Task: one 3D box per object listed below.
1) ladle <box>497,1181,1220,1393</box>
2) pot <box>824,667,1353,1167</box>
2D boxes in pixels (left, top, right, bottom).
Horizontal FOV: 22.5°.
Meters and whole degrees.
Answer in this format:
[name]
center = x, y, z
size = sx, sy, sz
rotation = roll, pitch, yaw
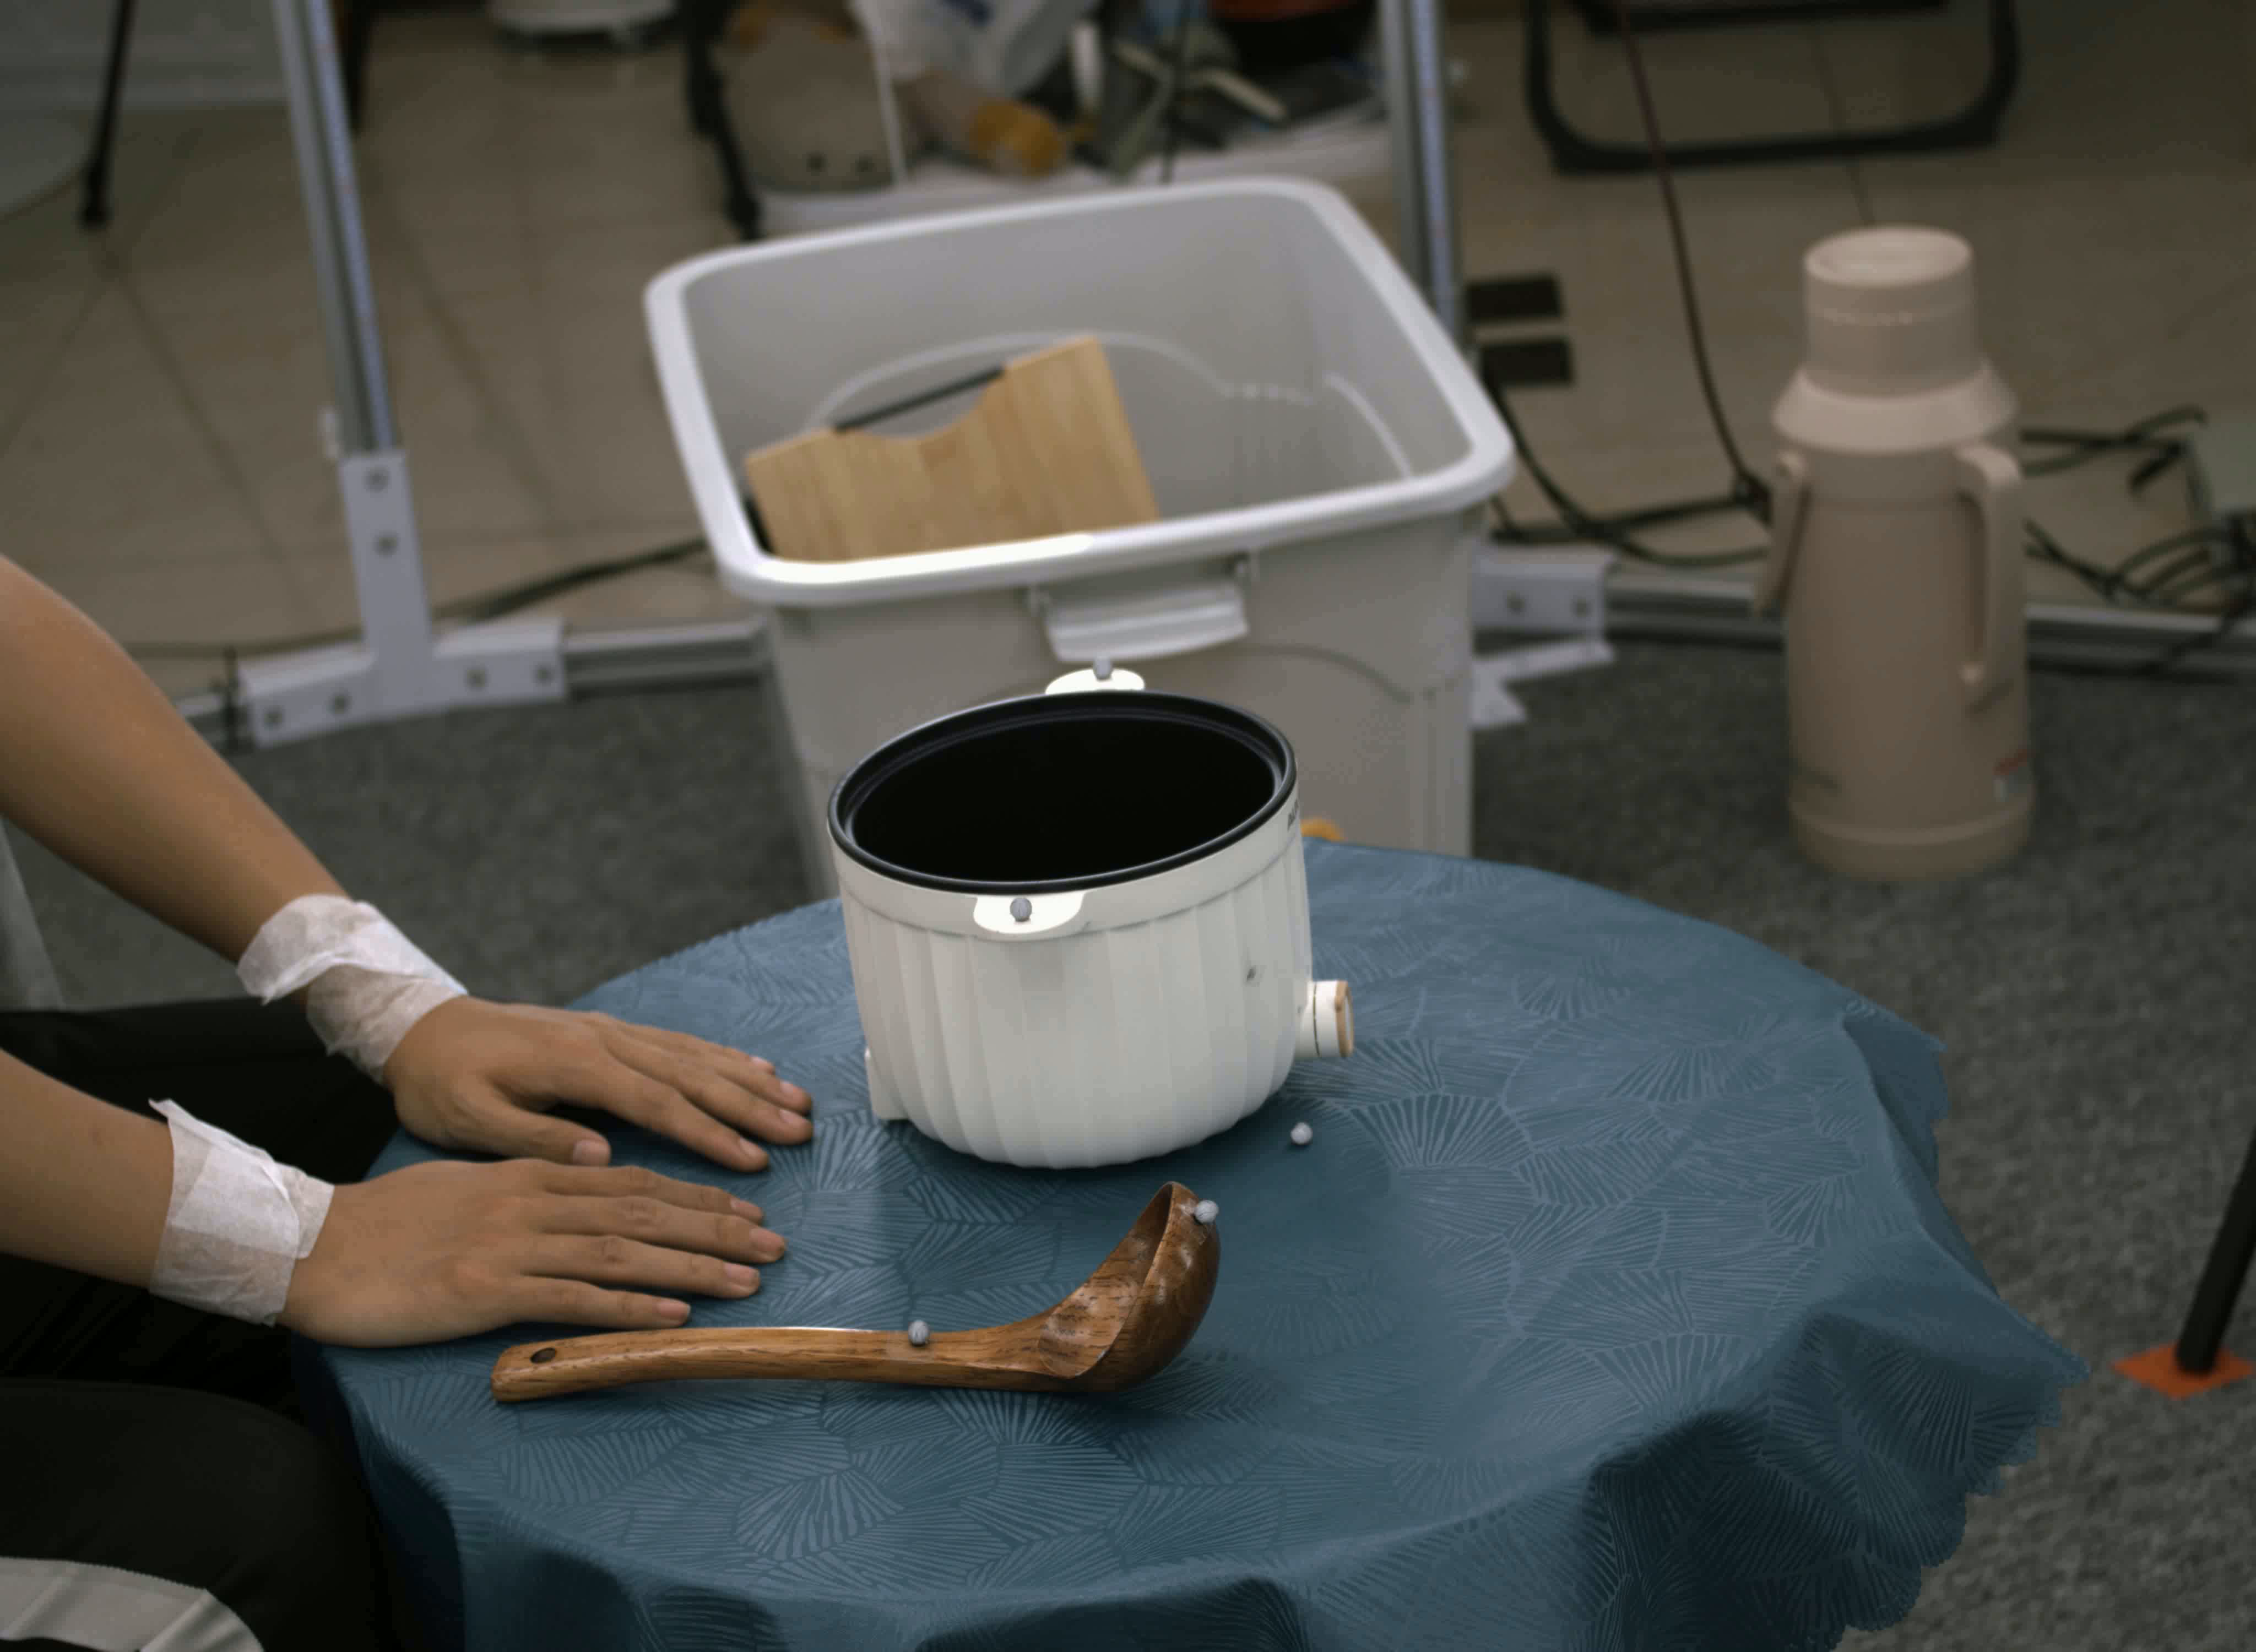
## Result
[ladle]
center = -0.100, 0.166, 2.026
size = 0.273, 0.078, 0.080
rotation = 0, 29, 12
[pot]
center = -0.013, 0.042, 2.195
size = 0.190, 0.145, 0.237
rotation = -6, 26, 10
